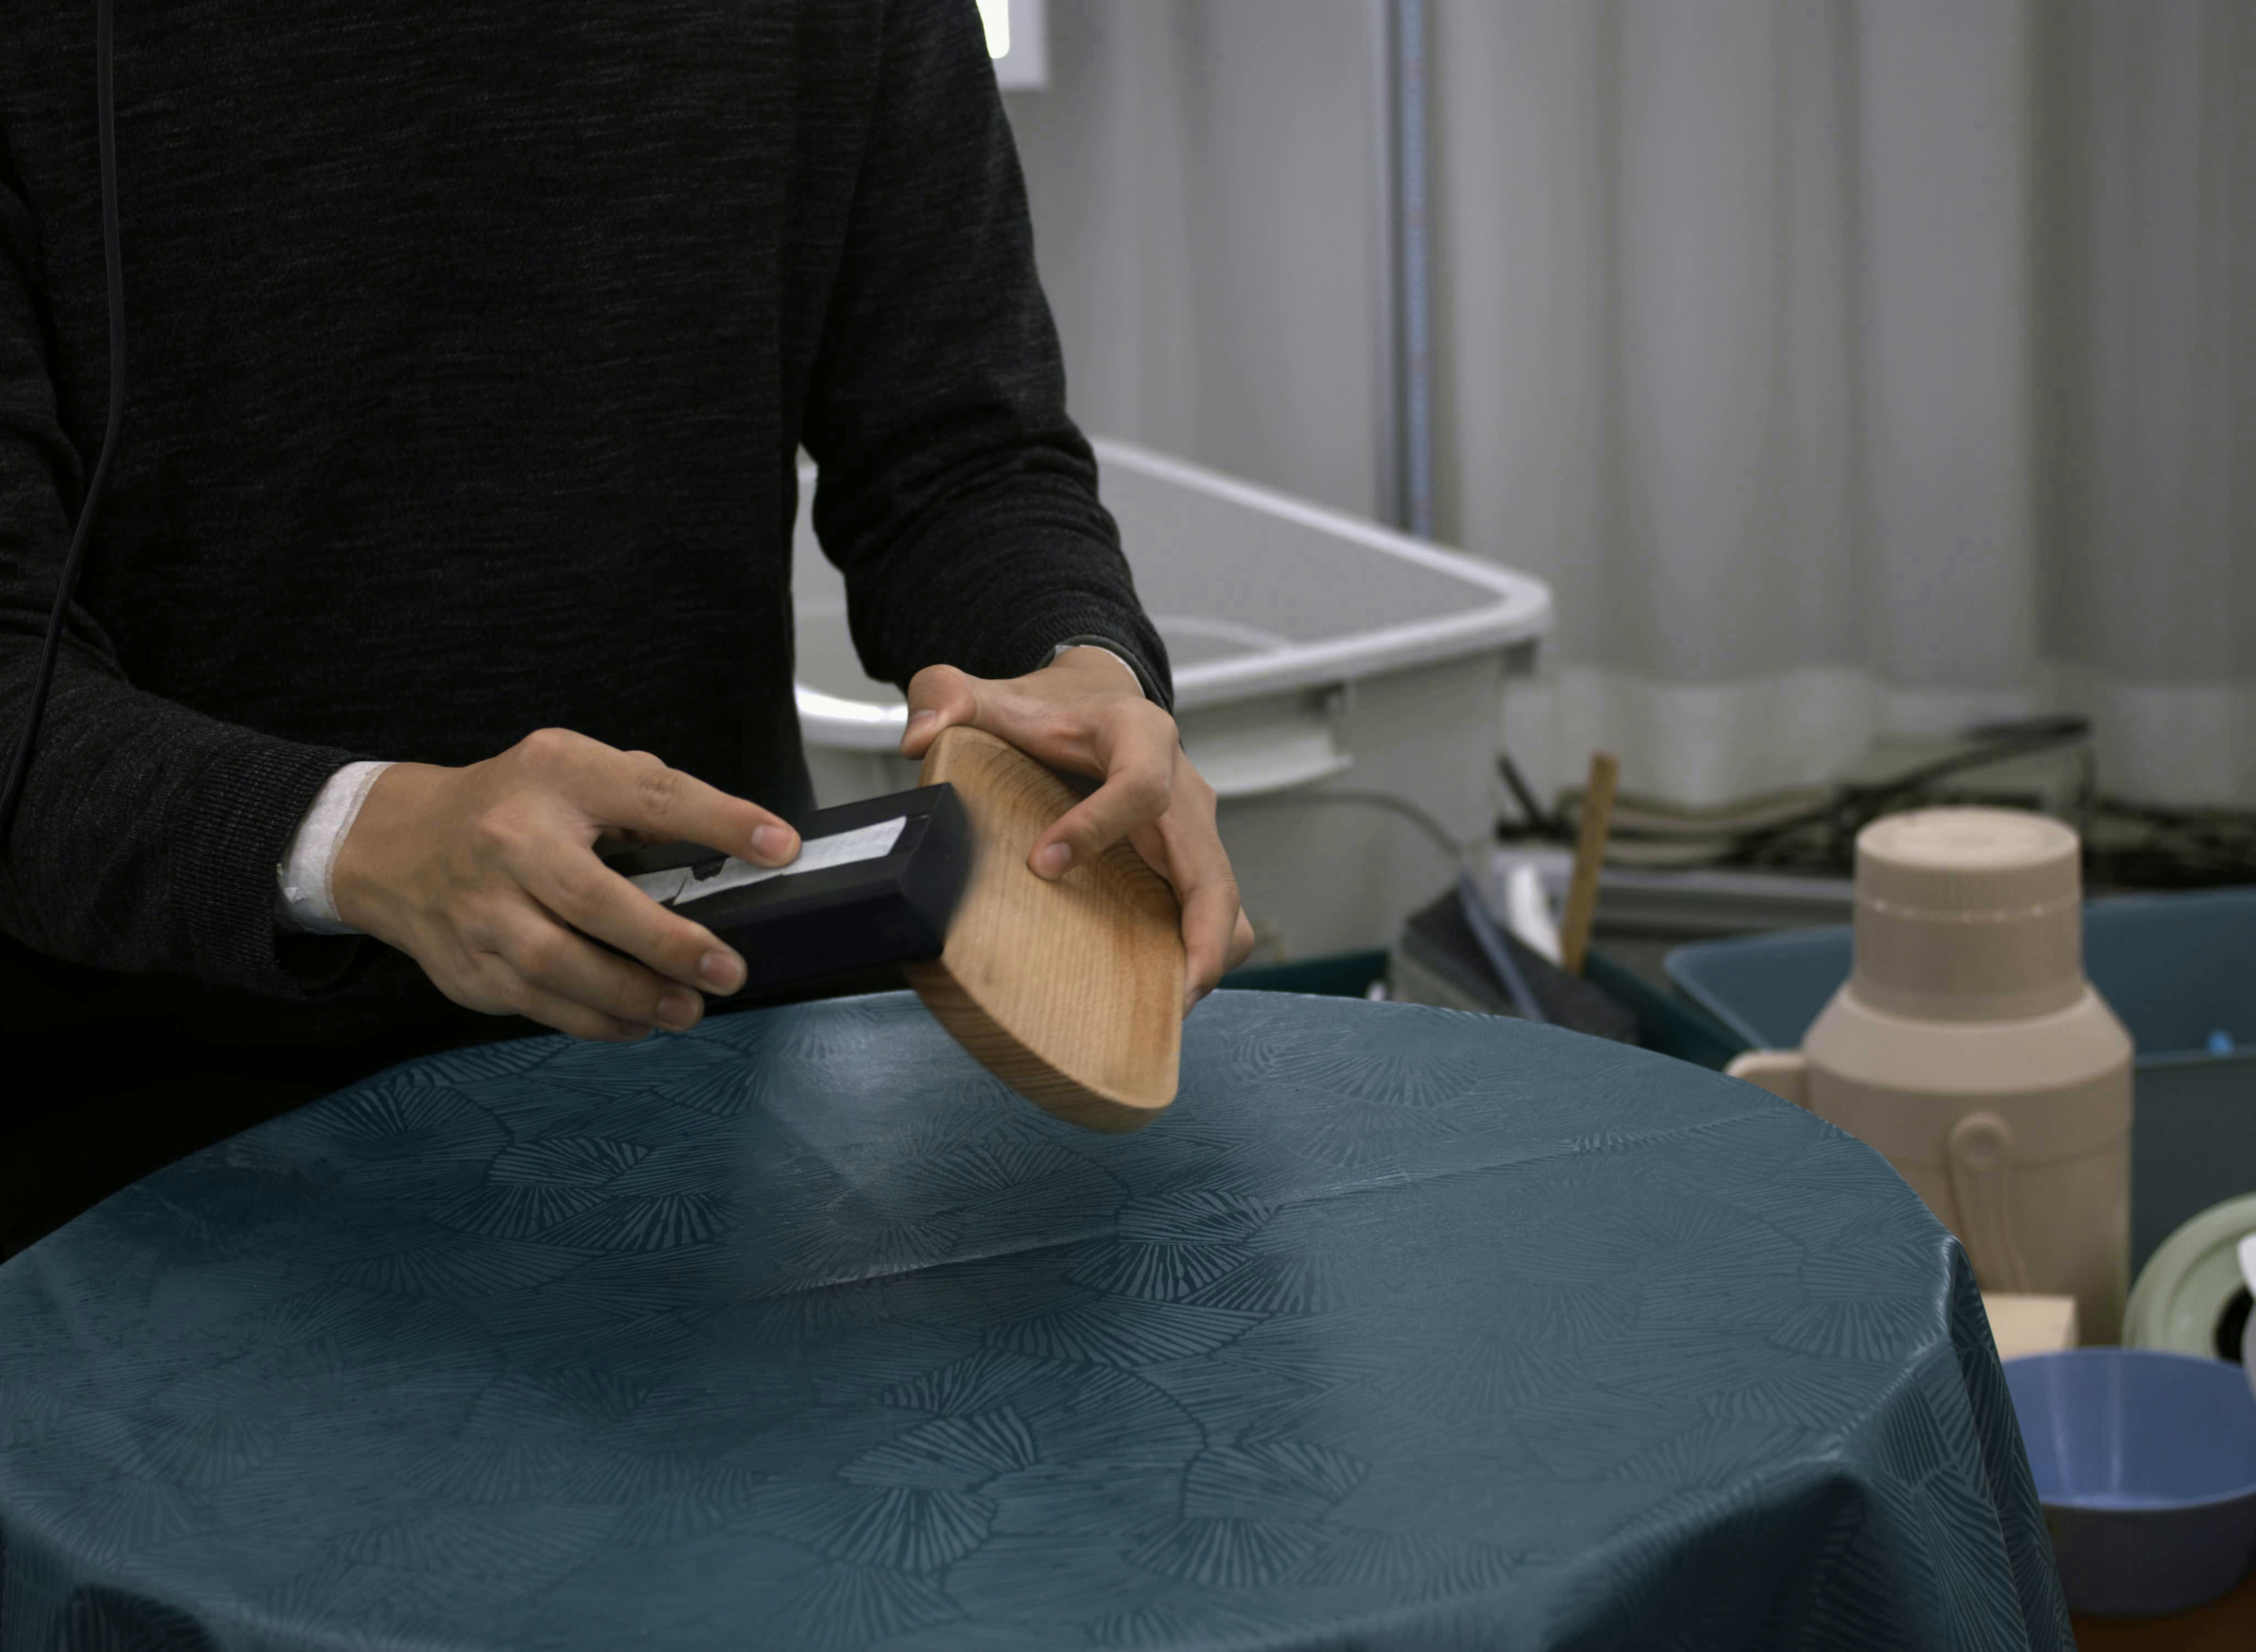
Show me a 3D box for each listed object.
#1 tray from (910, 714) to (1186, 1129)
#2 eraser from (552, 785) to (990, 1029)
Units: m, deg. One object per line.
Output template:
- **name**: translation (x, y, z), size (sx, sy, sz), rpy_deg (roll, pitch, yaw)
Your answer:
- **tray**: translation (-0.025, 0.027, 1.654), size (0.101, 0.020, 0.233), rpy_deg (40, 14, -12)
- **eraser**: translation (-0.102, 0.023, 1.572), size (0.125, 0.030, 0.054), rpy_deg (-13, 29, 28)
